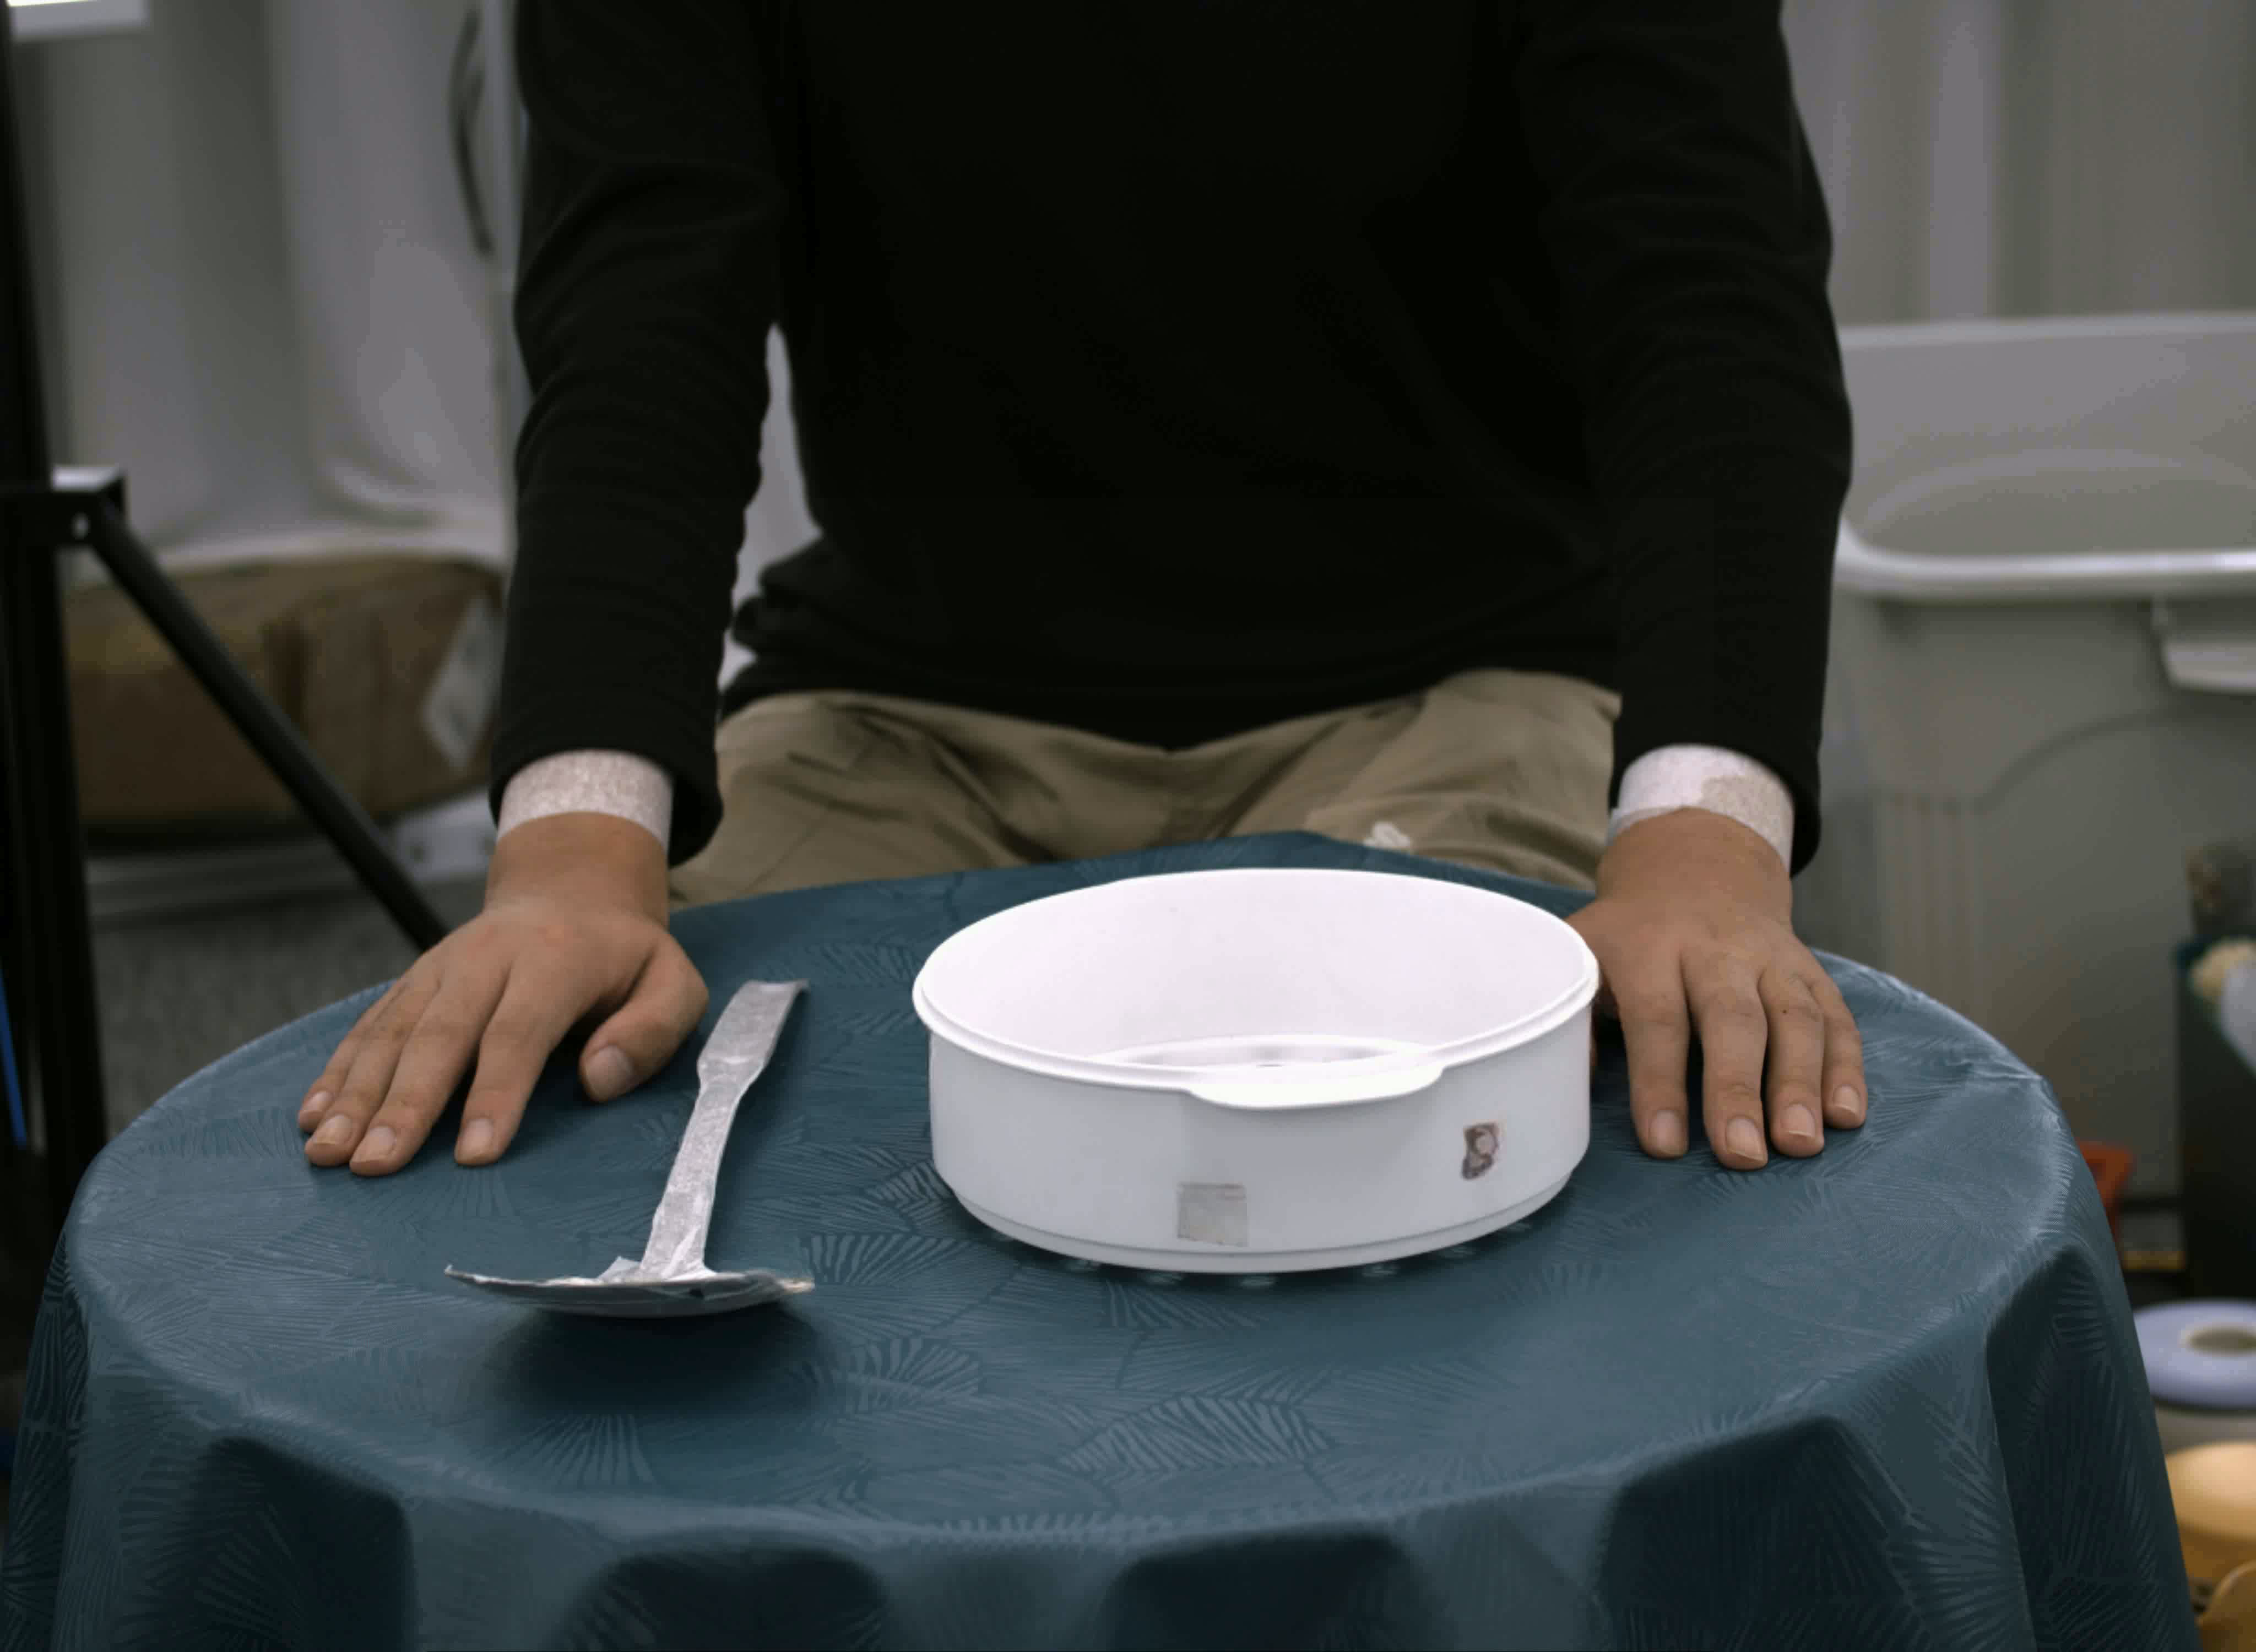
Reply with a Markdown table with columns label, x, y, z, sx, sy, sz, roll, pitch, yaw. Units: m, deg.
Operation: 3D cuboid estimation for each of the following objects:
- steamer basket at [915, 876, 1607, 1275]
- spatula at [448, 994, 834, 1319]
| label | x | y | z | sx | sy | sz | roll | pitch | yaw |
| --- | --- | --- | --- | --- | --- | --- | --- | --- | --- |
| steamer basket | 0.039 | 0.072 | 1.549 | 0.200 | 0.069 | 0.233 | -3 | 15 | -6 |
| spatula | -0.121 | 0.089 | 1.577 | 0.098 | 0.045 | 0.365 | -3 | 16 | 5 |
